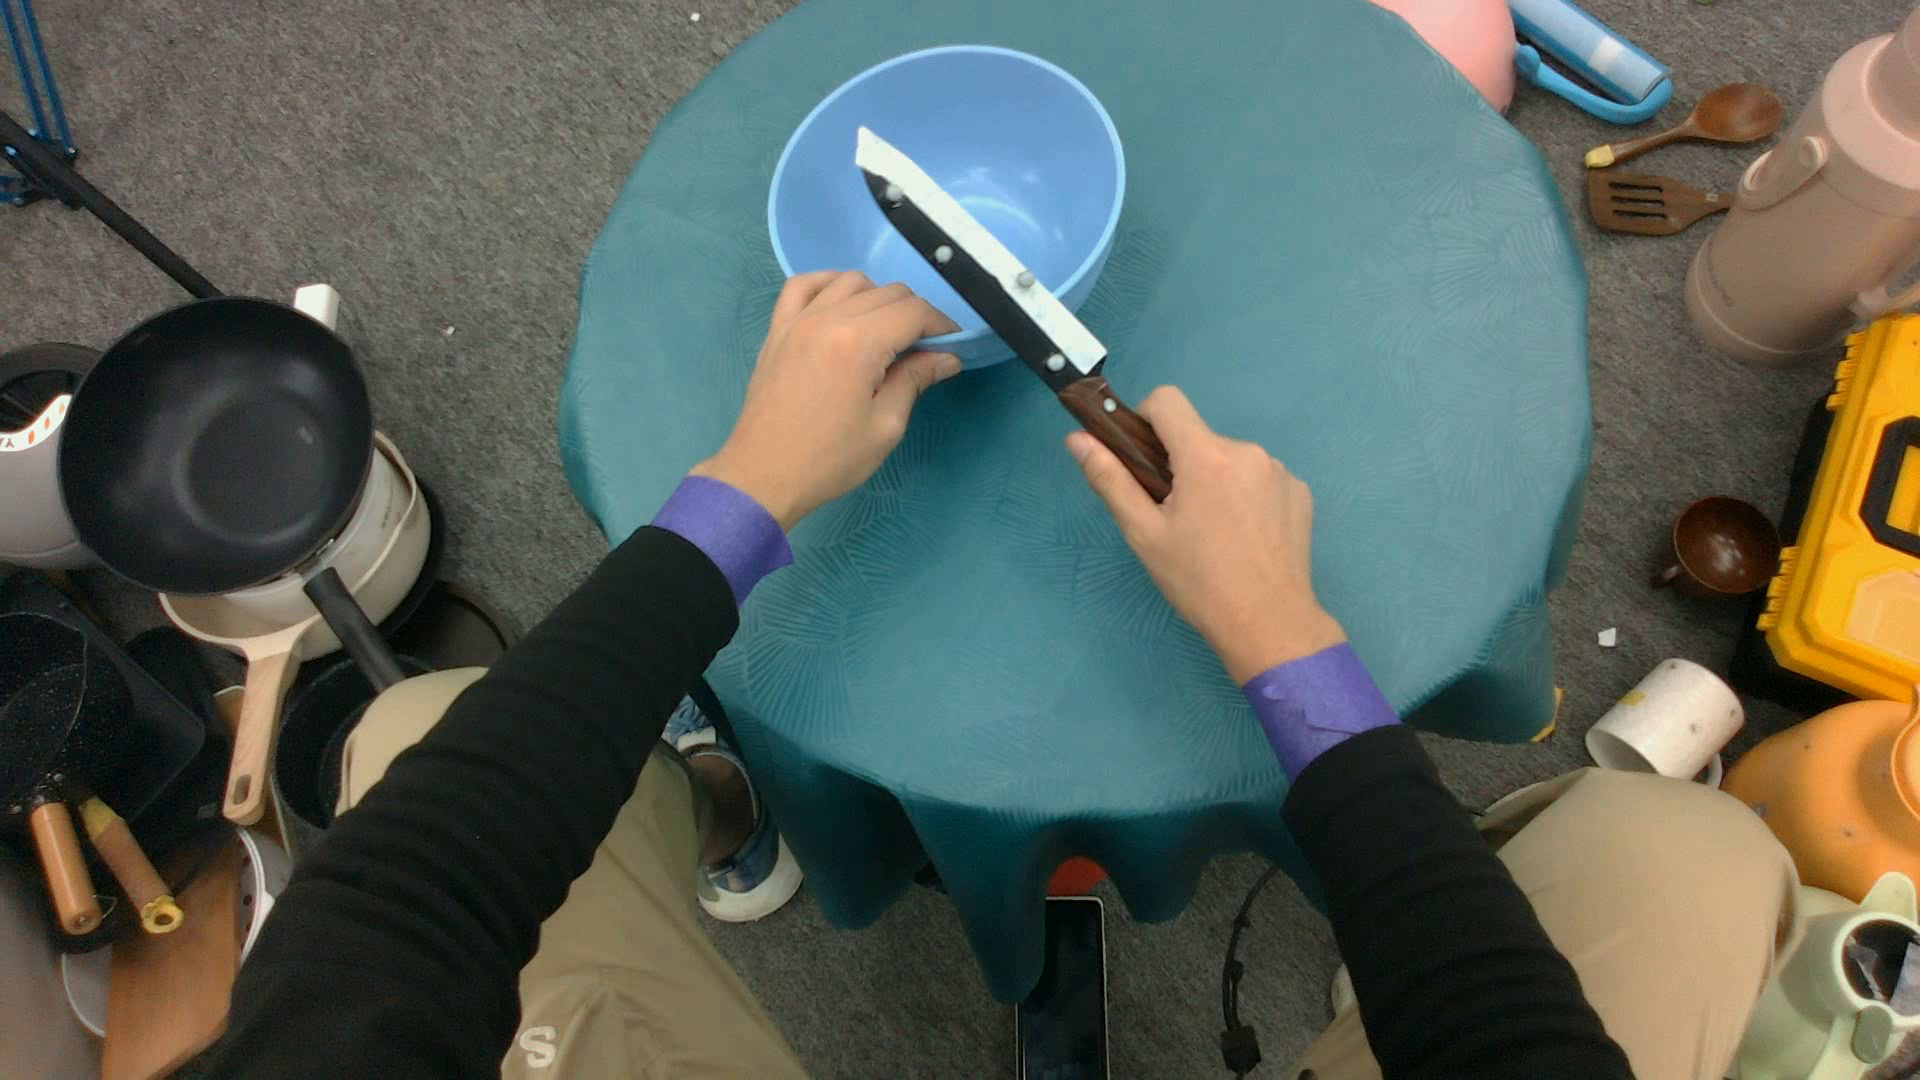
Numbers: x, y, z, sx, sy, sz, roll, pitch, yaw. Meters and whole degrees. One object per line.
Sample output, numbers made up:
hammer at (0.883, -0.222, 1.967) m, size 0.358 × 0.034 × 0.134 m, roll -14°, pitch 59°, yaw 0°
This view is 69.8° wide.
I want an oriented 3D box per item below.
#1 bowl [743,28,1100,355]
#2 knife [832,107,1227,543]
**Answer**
bowl at (-0.017, -0.183, 0.789) m, size 0.196 × 0.095 × 0.197 m, roll -3°, pitch 68°, yaw 6°
knife at (0.035, -0.109, 0.695) m, size 0.289 × 0.020 × 0.050 m, roll 47°, pitch 54°, yaw -4°
